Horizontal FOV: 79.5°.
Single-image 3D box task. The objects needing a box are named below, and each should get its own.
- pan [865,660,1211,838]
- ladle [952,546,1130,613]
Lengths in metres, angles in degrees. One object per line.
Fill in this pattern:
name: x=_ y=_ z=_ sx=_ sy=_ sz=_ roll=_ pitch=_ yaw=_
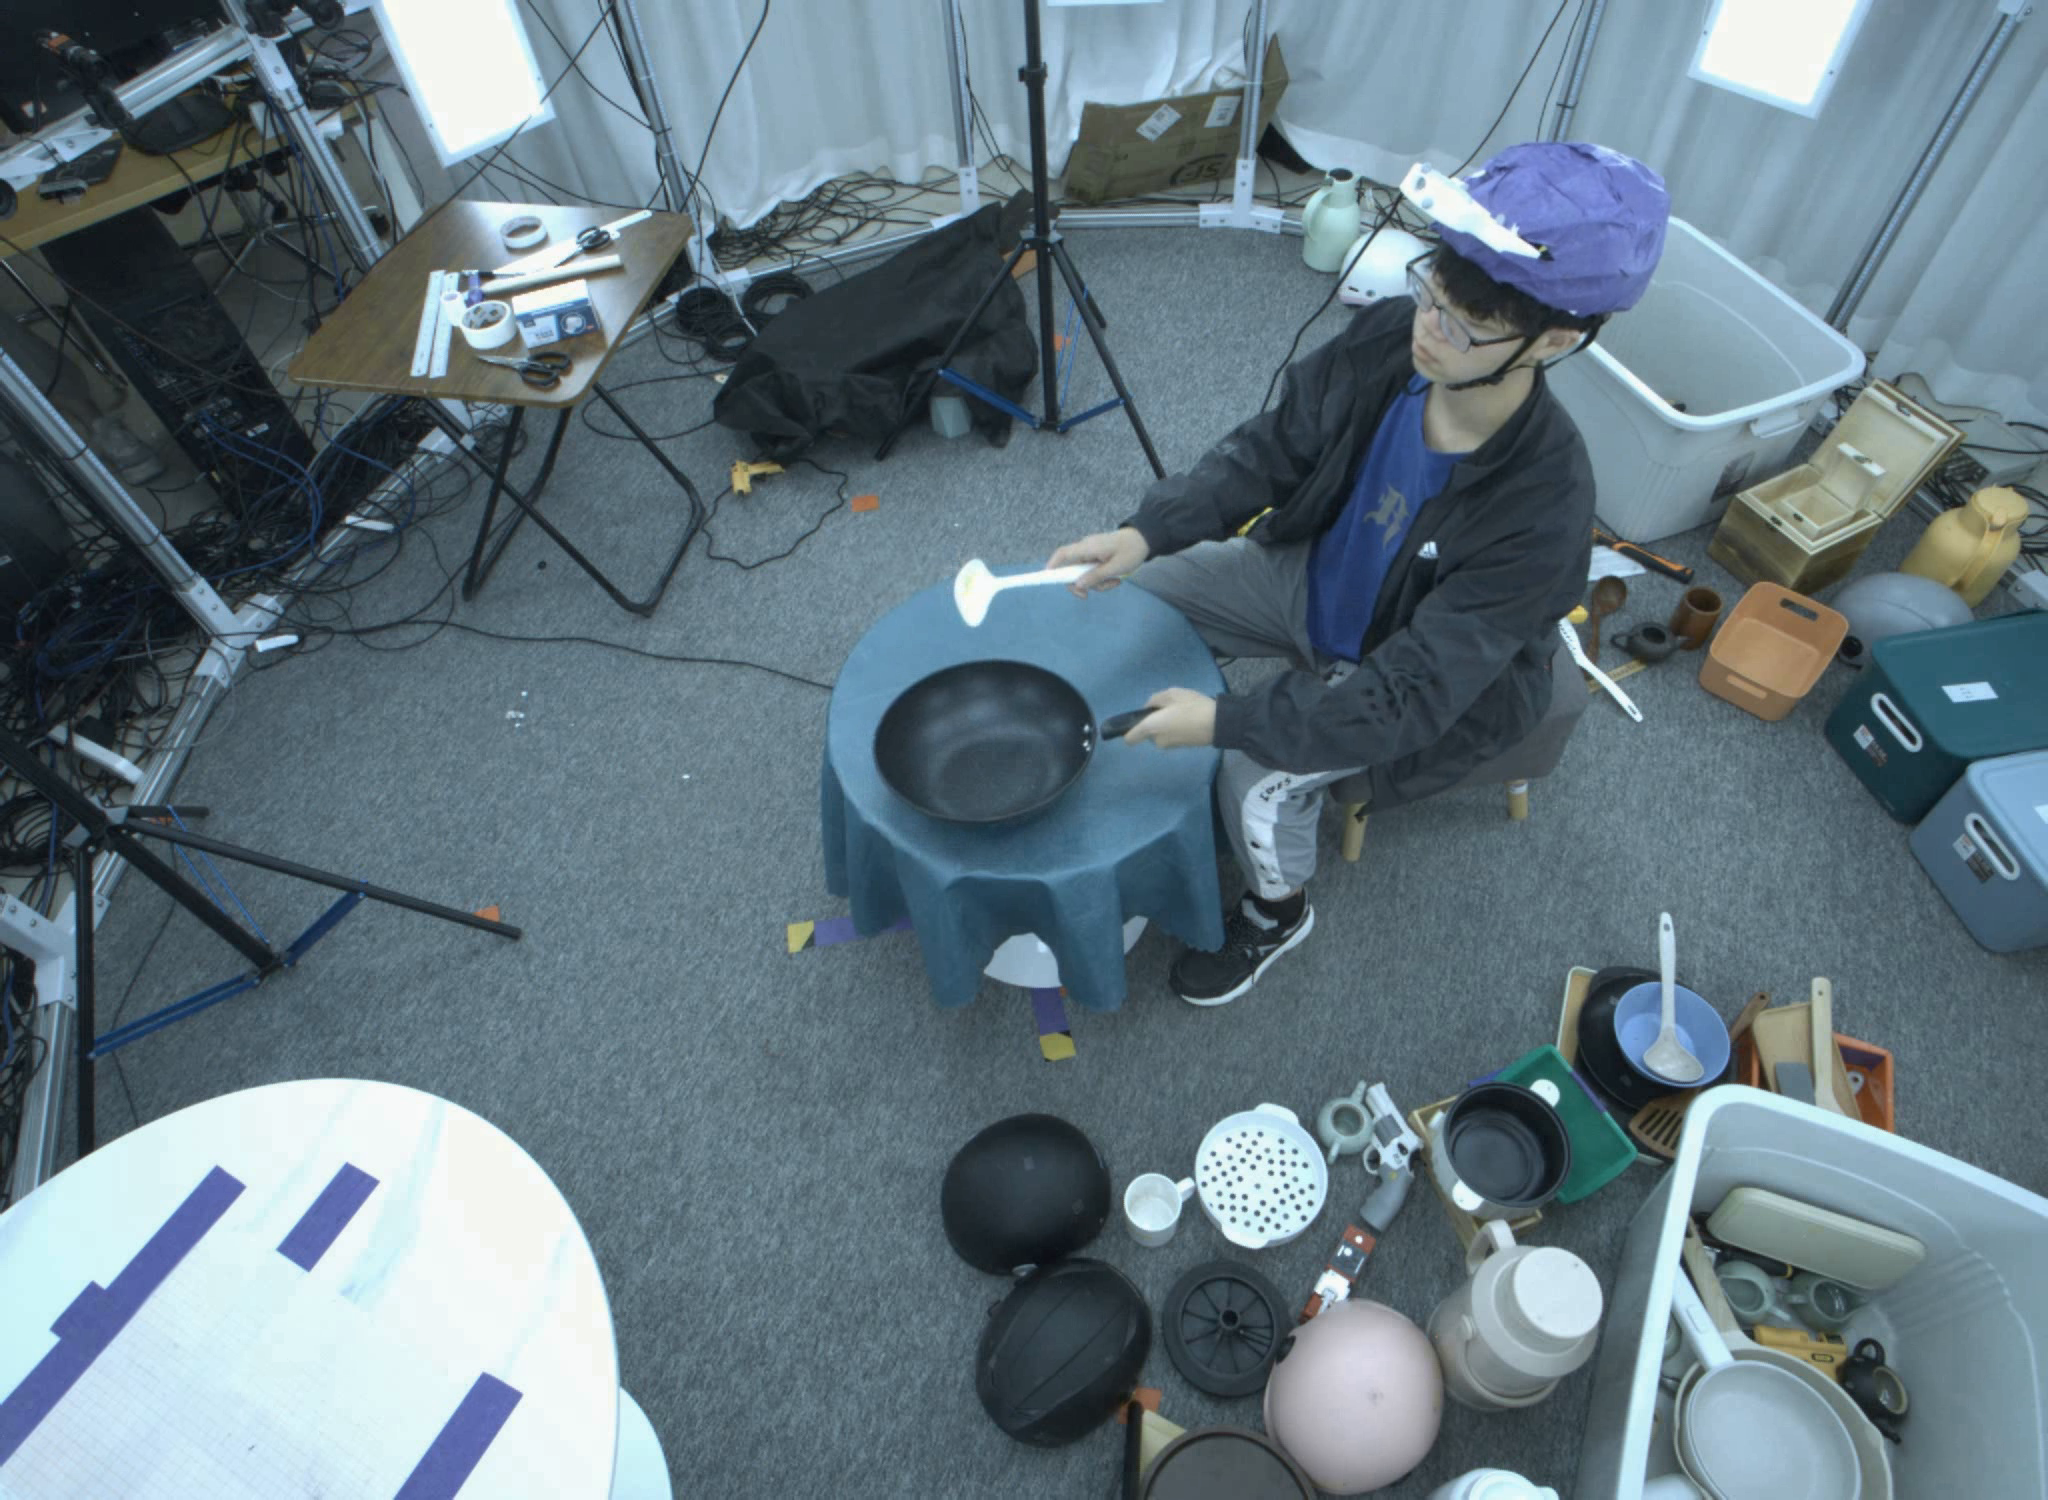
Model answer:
pan: x=0.021 y=-0.004 z=1.704 sx=0.477 sy=0.113 sz=0.306 roll=-6 pitch=50 yaw=1
ladle: x=0.028 y=-0.245 z=1.707 sx=0.298 sy=0.090 sz=0.068 roll=-9 pitch=12 yaw=-28
